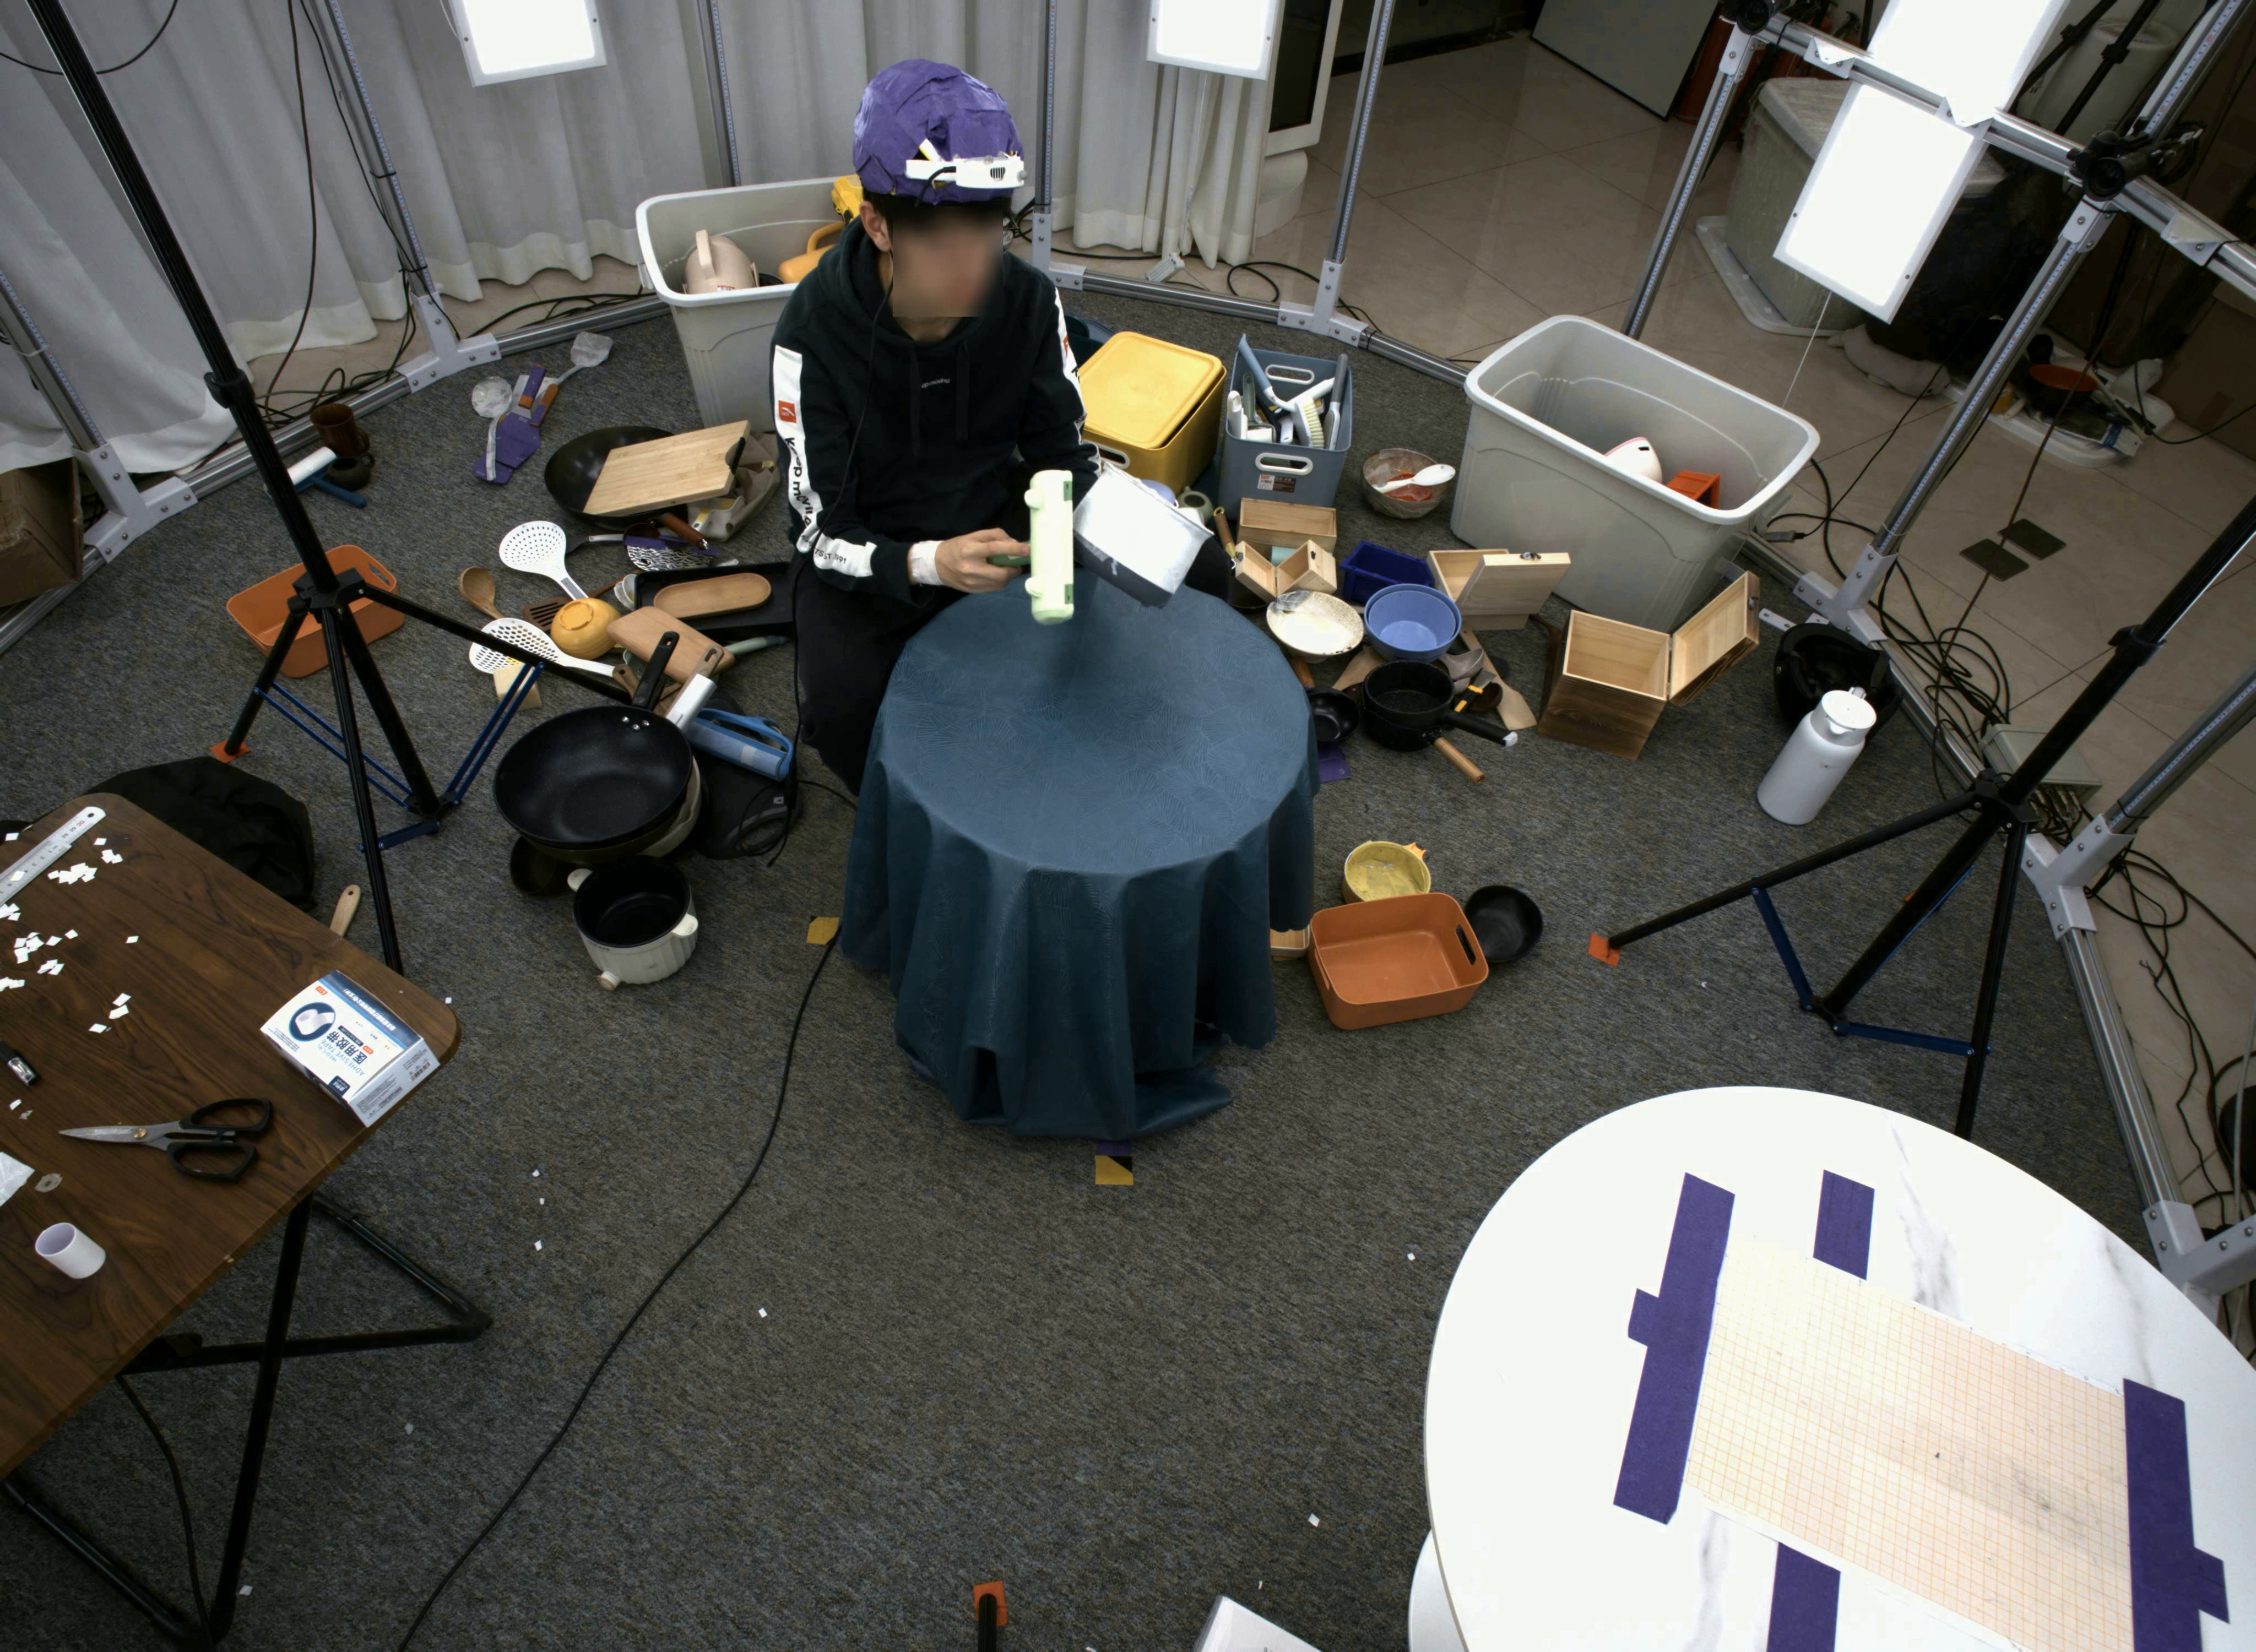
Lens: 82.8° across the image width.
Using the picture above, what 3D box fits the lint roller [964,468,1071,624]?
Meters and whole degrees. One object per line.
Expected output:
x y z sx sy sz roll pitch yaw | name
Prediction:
-0.154 -0.363 1.698 0.184 0.081 0.199 -3 85 27 | lint roller

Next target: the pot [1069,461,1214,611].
0.001 -0.405 1.779 0.176 0.135 0.238 27 15 -28 | pot
